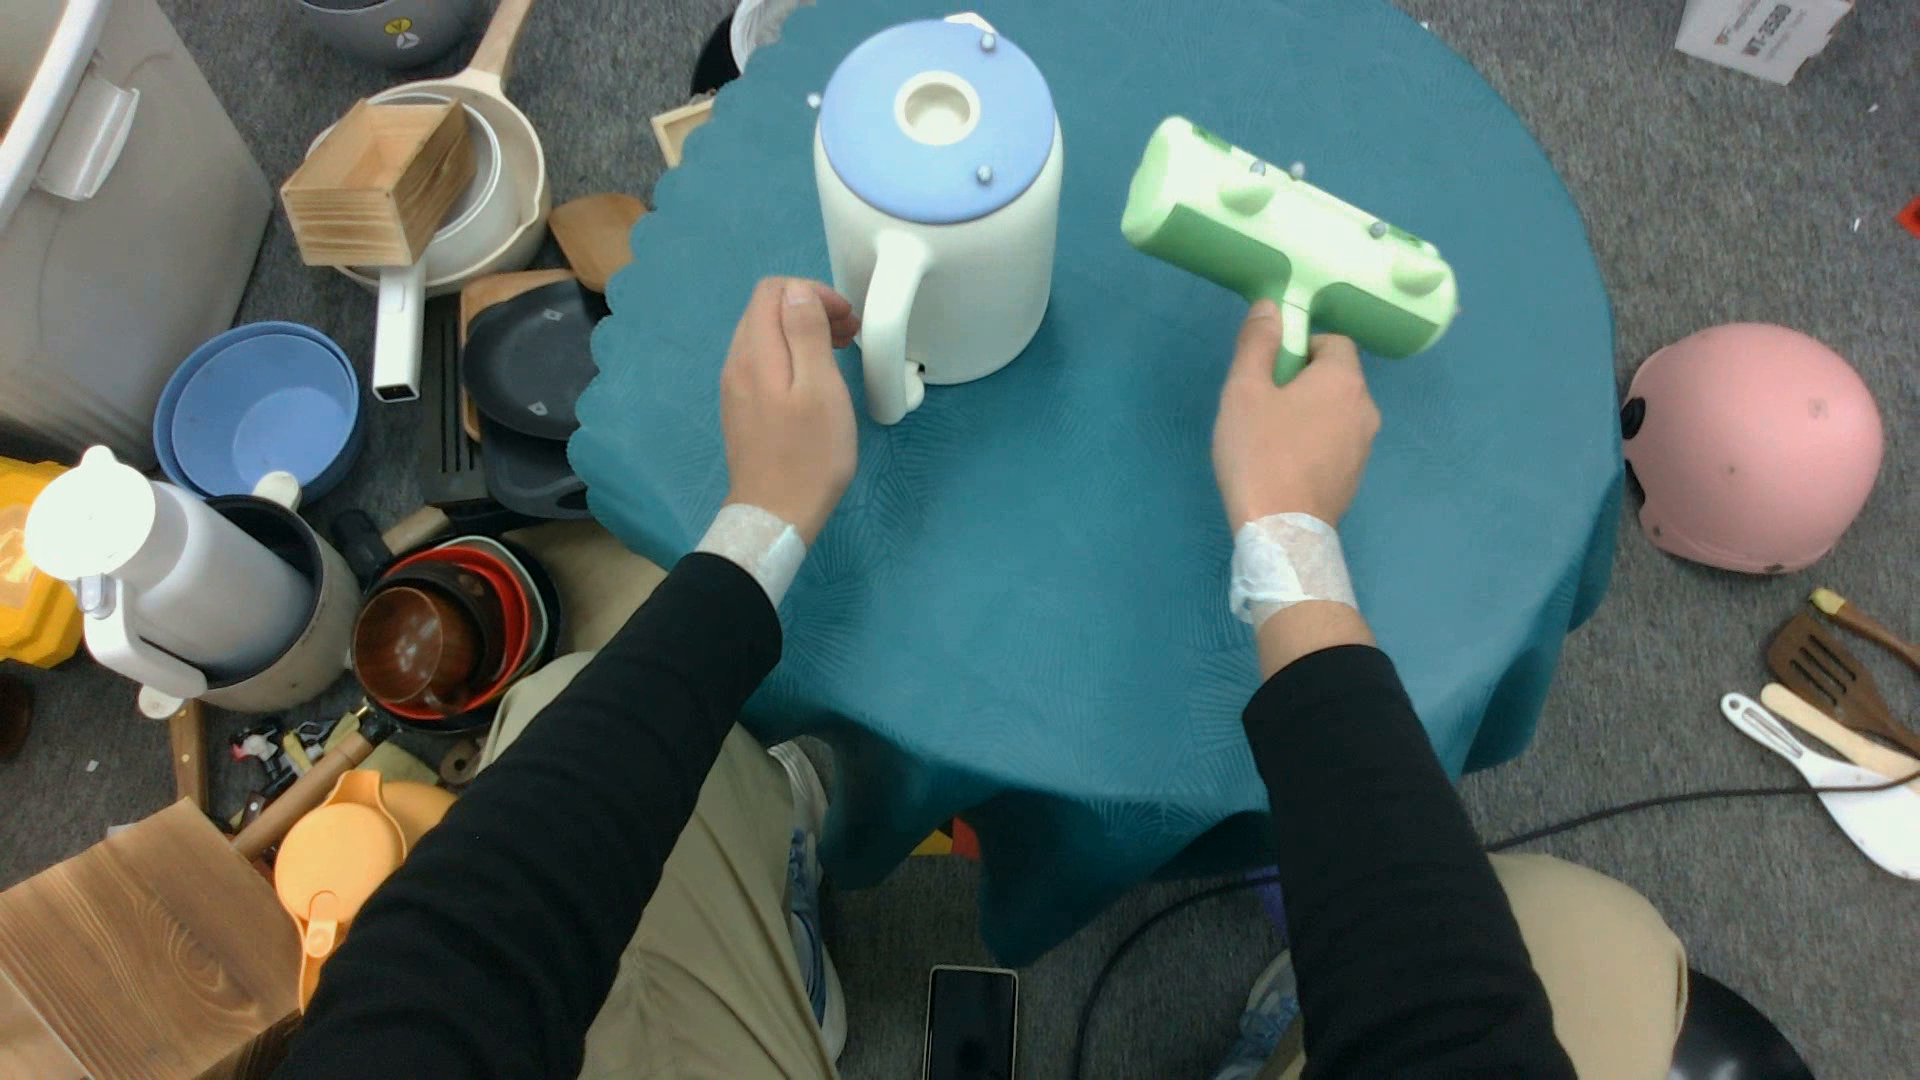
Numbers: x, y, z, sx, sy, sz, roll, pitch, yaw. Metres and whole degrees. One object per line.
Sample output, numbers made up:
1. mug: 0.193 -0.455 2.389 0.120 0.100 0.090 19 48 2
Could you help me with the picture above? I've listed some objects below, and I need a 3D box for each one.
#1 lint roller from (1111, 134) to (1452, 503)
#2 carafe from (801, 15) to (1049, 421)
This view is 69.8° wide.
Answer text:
1. lint roller: 0.177 -0.114 0.736 0.199 0.082 0.184 15 65 -17
2. carafe: -0.025 -0.162 0.764 0.132 0.182 0.191 13 72 5
